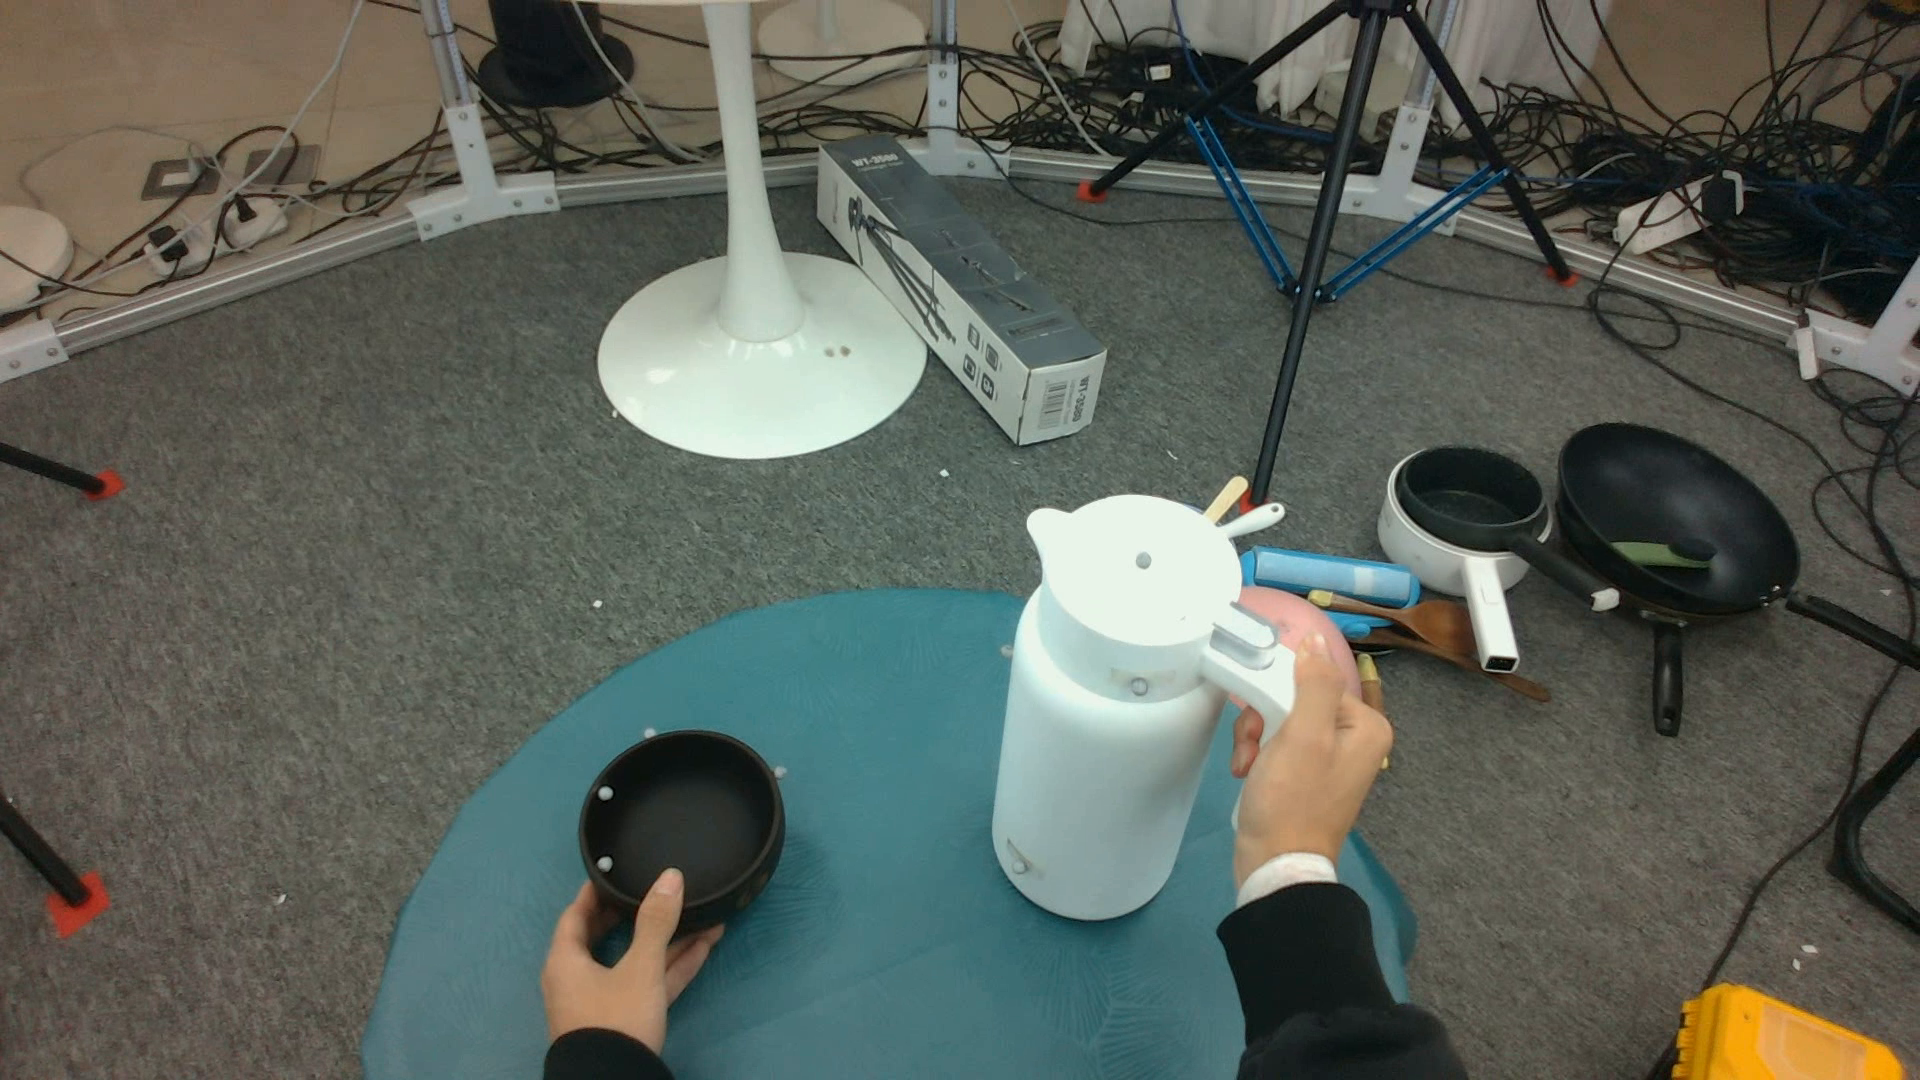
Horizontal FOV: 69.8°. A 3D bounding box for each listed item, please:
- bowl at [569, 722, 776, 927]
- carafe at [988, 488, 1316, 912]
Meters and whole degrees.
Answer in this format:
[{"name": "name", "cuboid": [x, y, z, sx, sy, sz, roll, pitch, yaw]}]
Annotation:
[{"name": "bowl", "cuboid": [-0.168, 0.175, 0.819, 0.118, 0.069, 0.118, 2, 52, -2]}, {"name": "carafe", "cuboid": [0.096, 0.104, 0.769, 0.173, 0.267, 0.124, 30, 50, 21]}]
